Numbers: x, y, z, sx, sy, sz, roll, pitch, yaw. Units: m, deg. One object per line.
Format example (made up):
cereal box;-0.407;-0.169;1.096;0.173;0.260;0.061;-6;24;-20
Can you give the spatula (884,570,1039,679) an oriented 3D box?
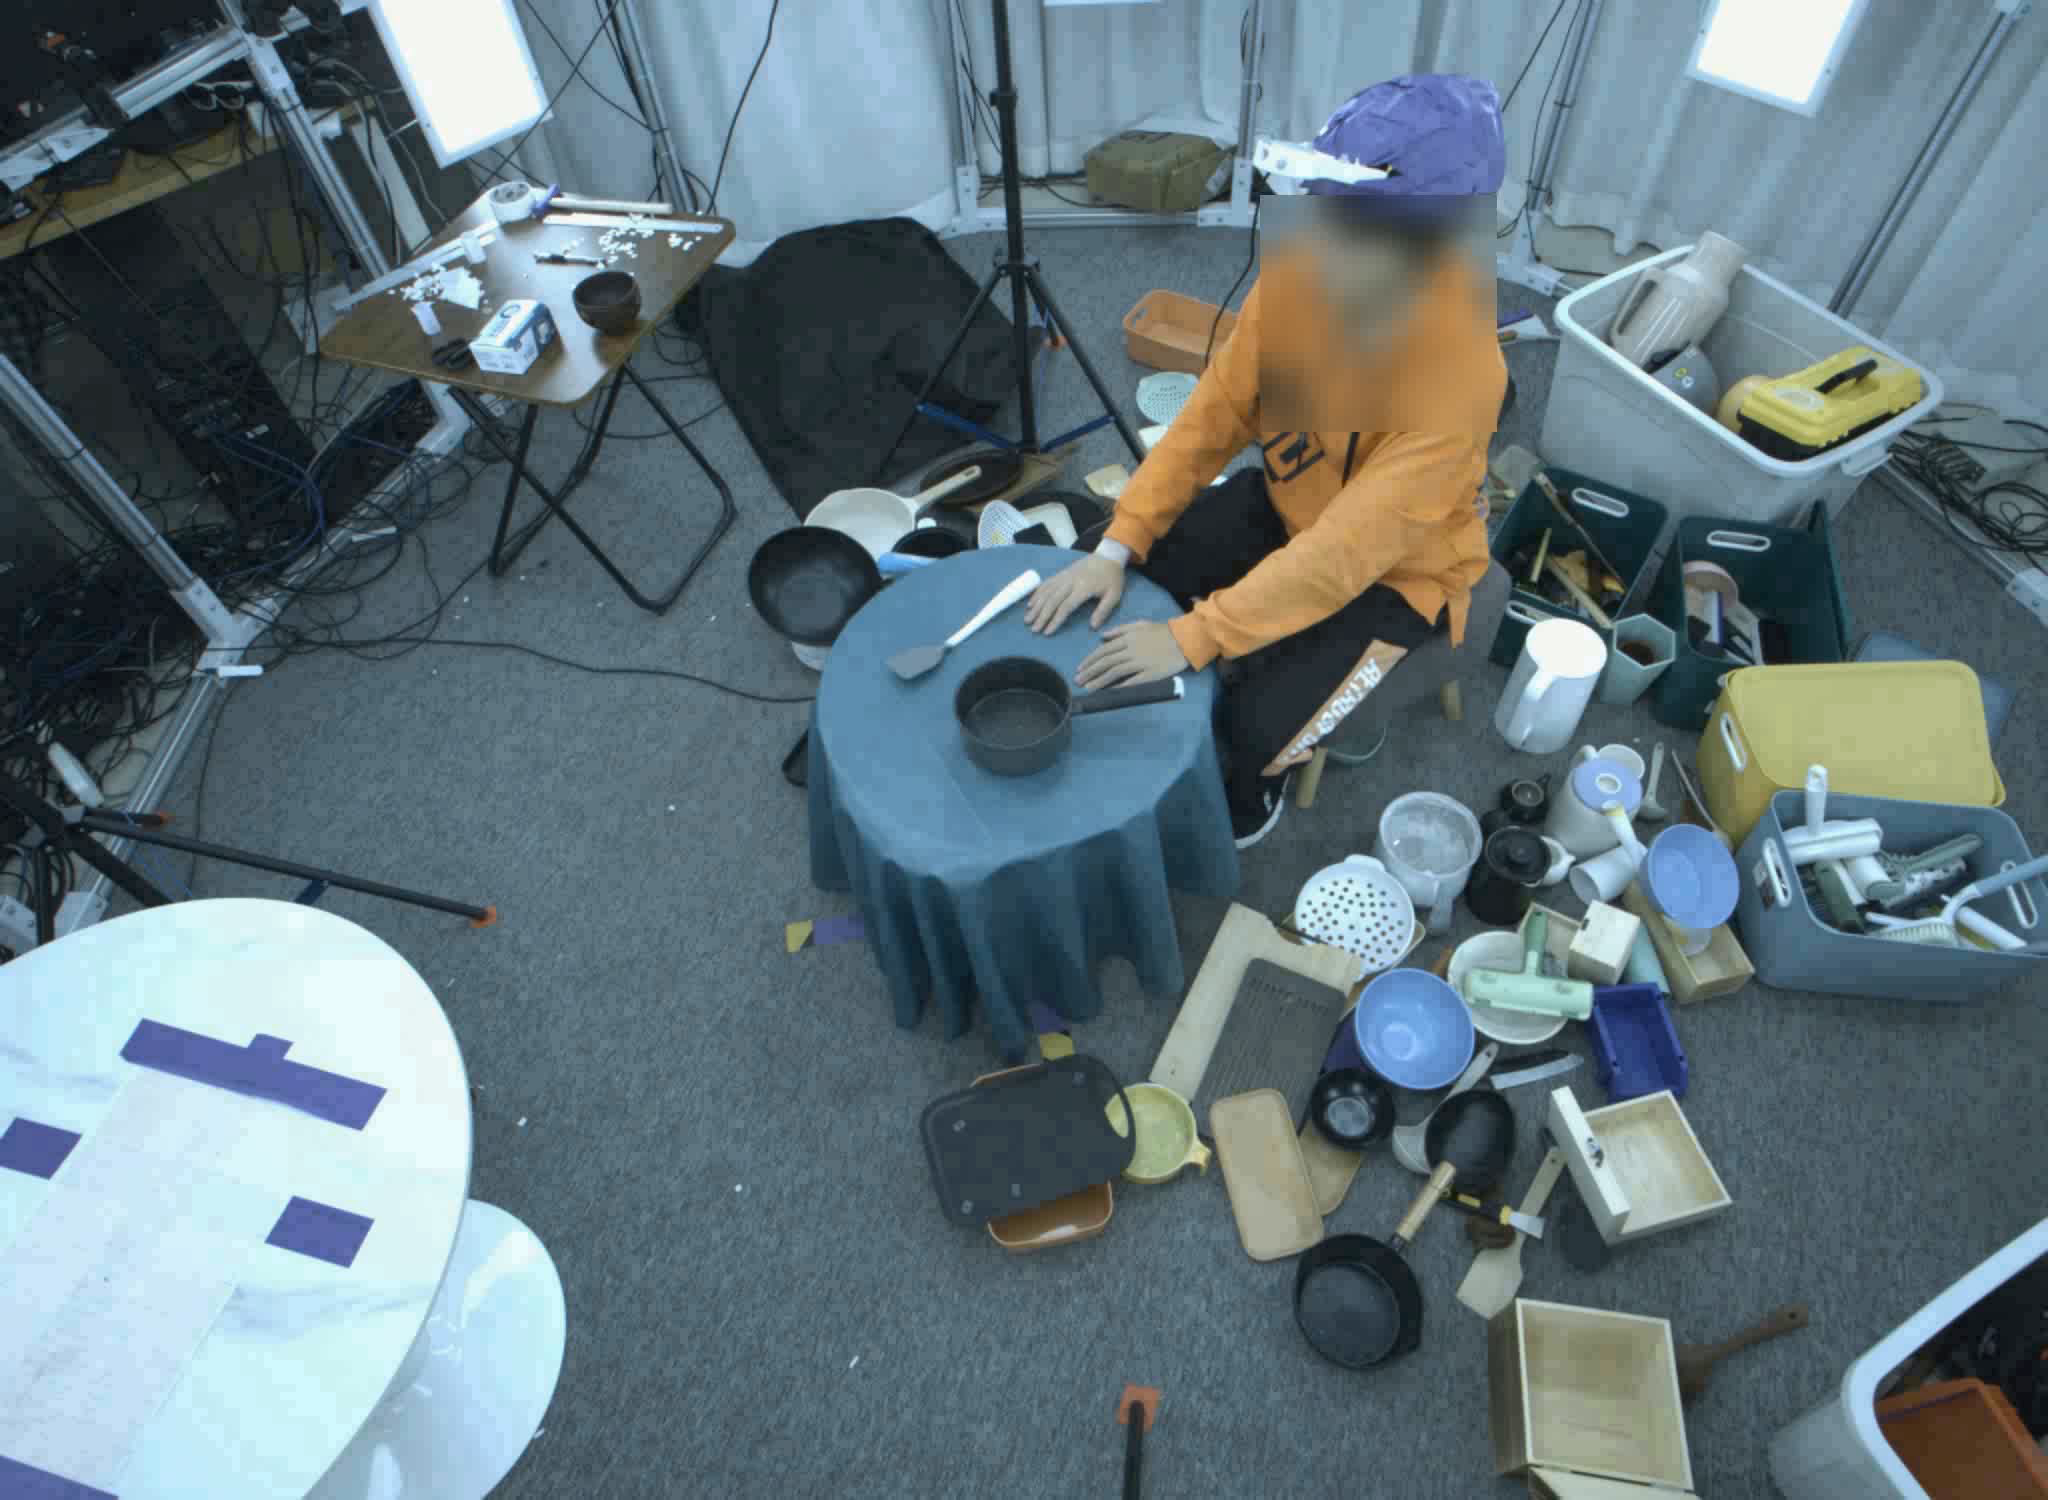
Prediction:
spatula;-0.092;-0.193;1.908;0.290;0.032;0.057;-37;64;-23

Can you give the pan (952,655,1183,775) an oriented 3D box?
pan;0.064;-0.055;1.771;0.328;0.087;0.170;-3;55;2
